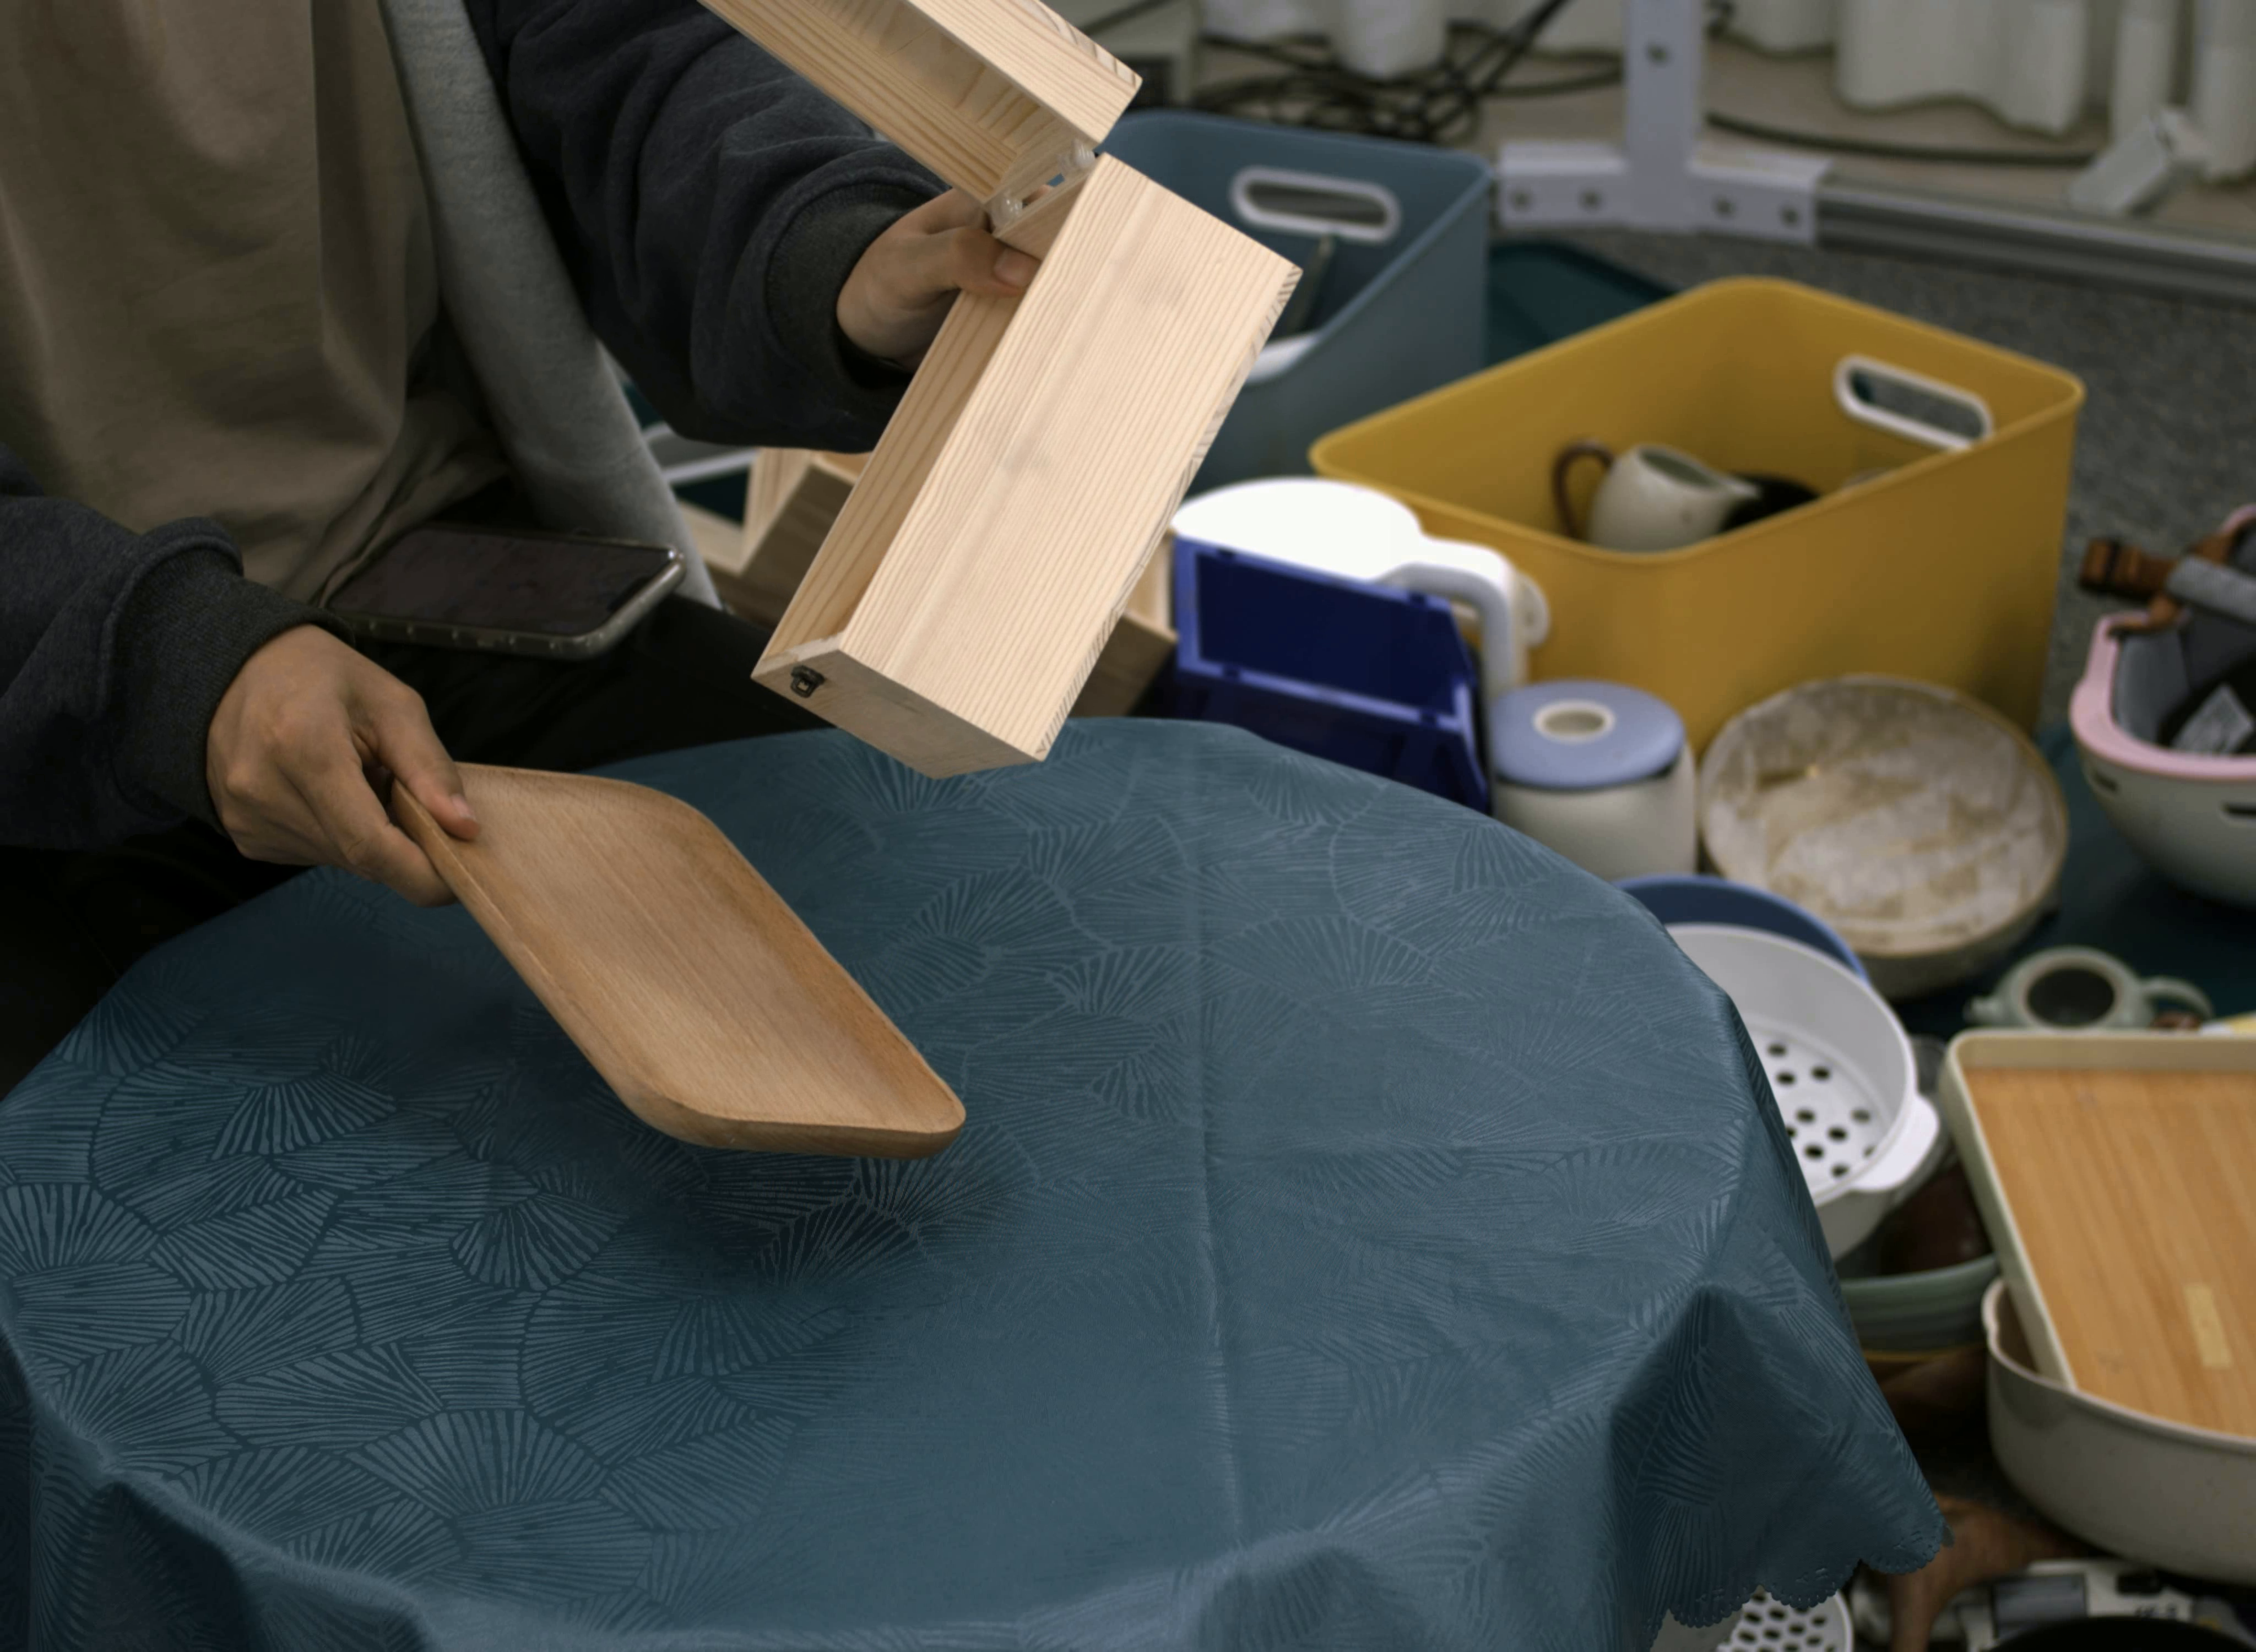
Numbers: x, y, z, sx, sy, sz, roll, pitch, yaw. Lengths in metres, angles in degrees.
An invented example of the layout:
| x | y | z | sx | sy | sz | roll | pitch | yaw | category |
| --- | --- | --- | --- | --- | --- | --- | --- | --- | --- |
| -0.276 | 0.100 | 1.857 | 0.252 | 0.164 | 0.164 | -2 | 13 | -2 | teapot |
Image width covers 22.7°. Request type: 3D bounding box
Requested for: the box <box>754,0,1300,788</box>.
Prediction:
| x | y | z | sx | sy | sz | roll | pitch | yaw | category |
| --- | --- | --- | --- | --- | --- | --- | --- | --- | --- |
| -0.092 | -0.187 | 1.855 | 0.252 | 0.267 | 0.180 | 30 | -10 | -7 | box |

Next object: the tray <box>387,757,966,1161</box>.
| x | y | z | sx | sy | sz | roll | pitch | yaw | category |
| --- | --- | --- | --- | --- | --- | --- | --- | --- | --- |
| -0.156 | 0.044 | 1.890 | 0.130 | 0.023 | 0.252 | 10 | 21 | -35 | tray |
